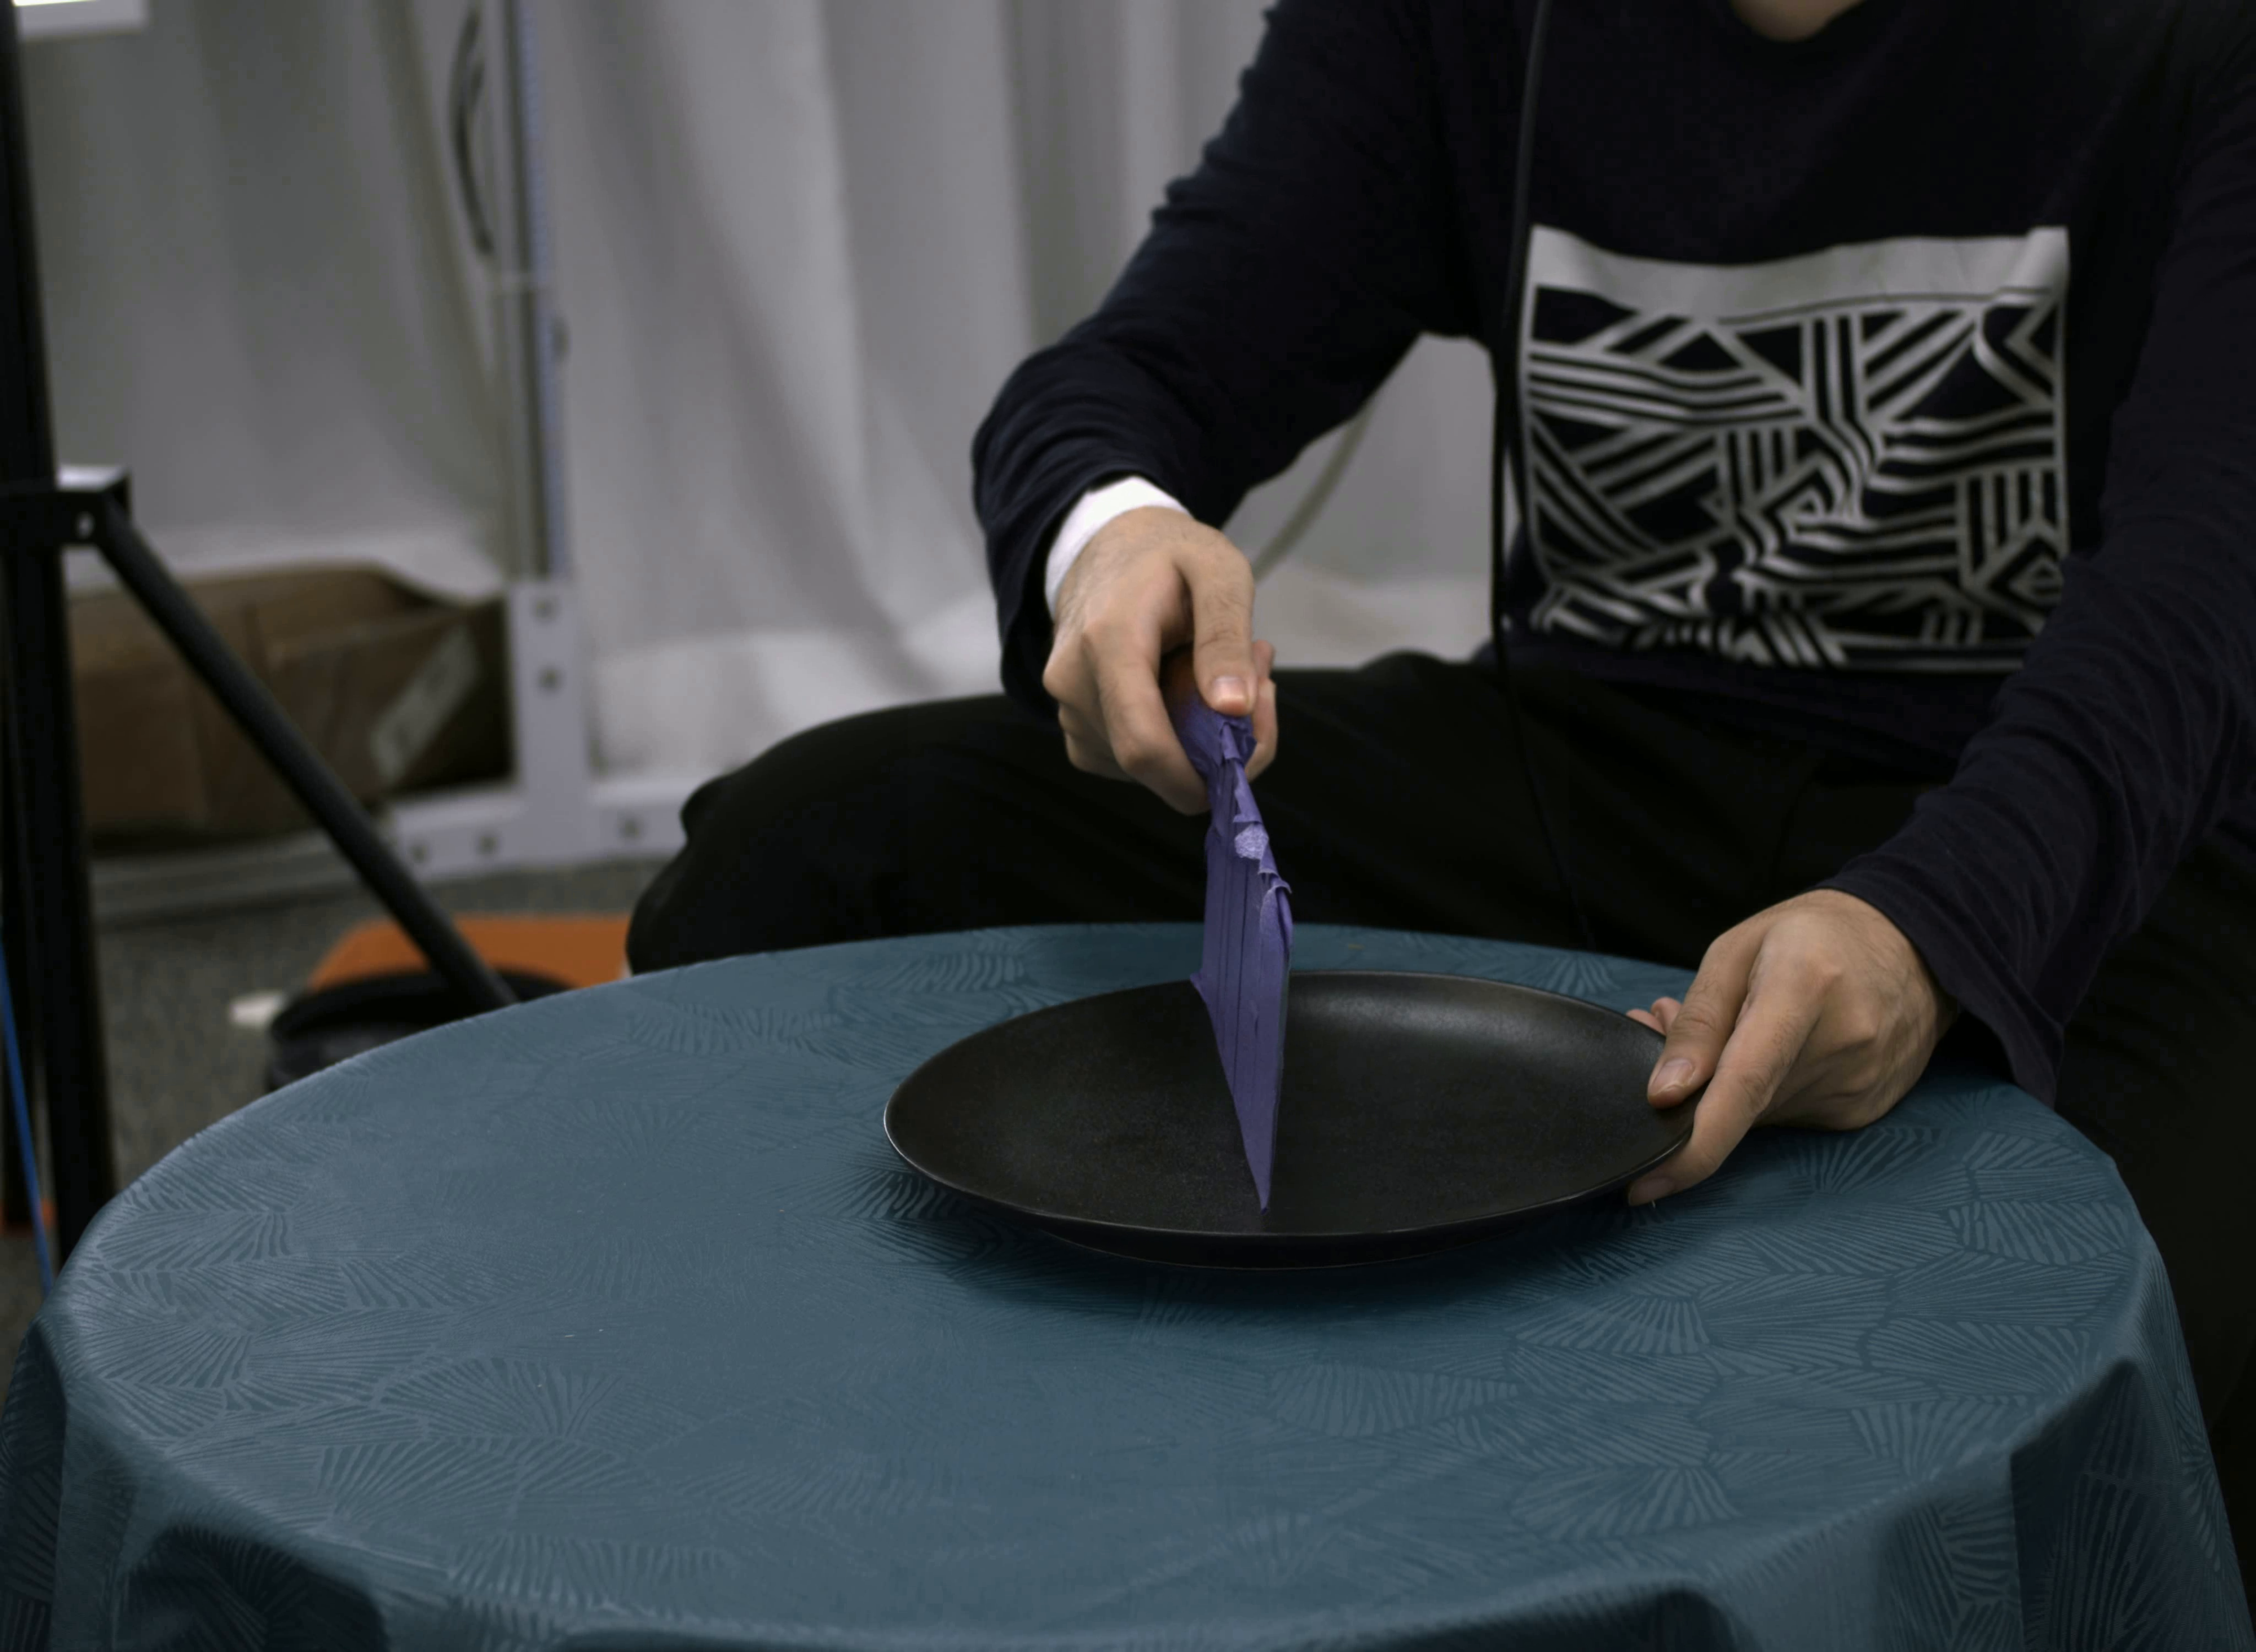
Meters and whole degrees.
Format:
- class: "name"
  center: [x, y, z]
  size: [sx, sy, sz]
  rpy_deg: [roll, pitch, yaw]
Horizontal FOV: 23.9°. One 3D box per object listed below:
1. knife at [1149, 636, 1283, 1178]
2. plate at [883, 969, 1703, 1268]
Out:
- class: "knife"
  center: [0.026, 0.021, 1.624]
  size: [0.032, 0.104, 0.317]
  rpy_deg: [4, 16, -4]
- class: "plate"
  center: [0.049, 0.089, 1.575]
  size: [0.243, 0.023, 0.245]
  rpy_deg: [-3, 16, 0]
